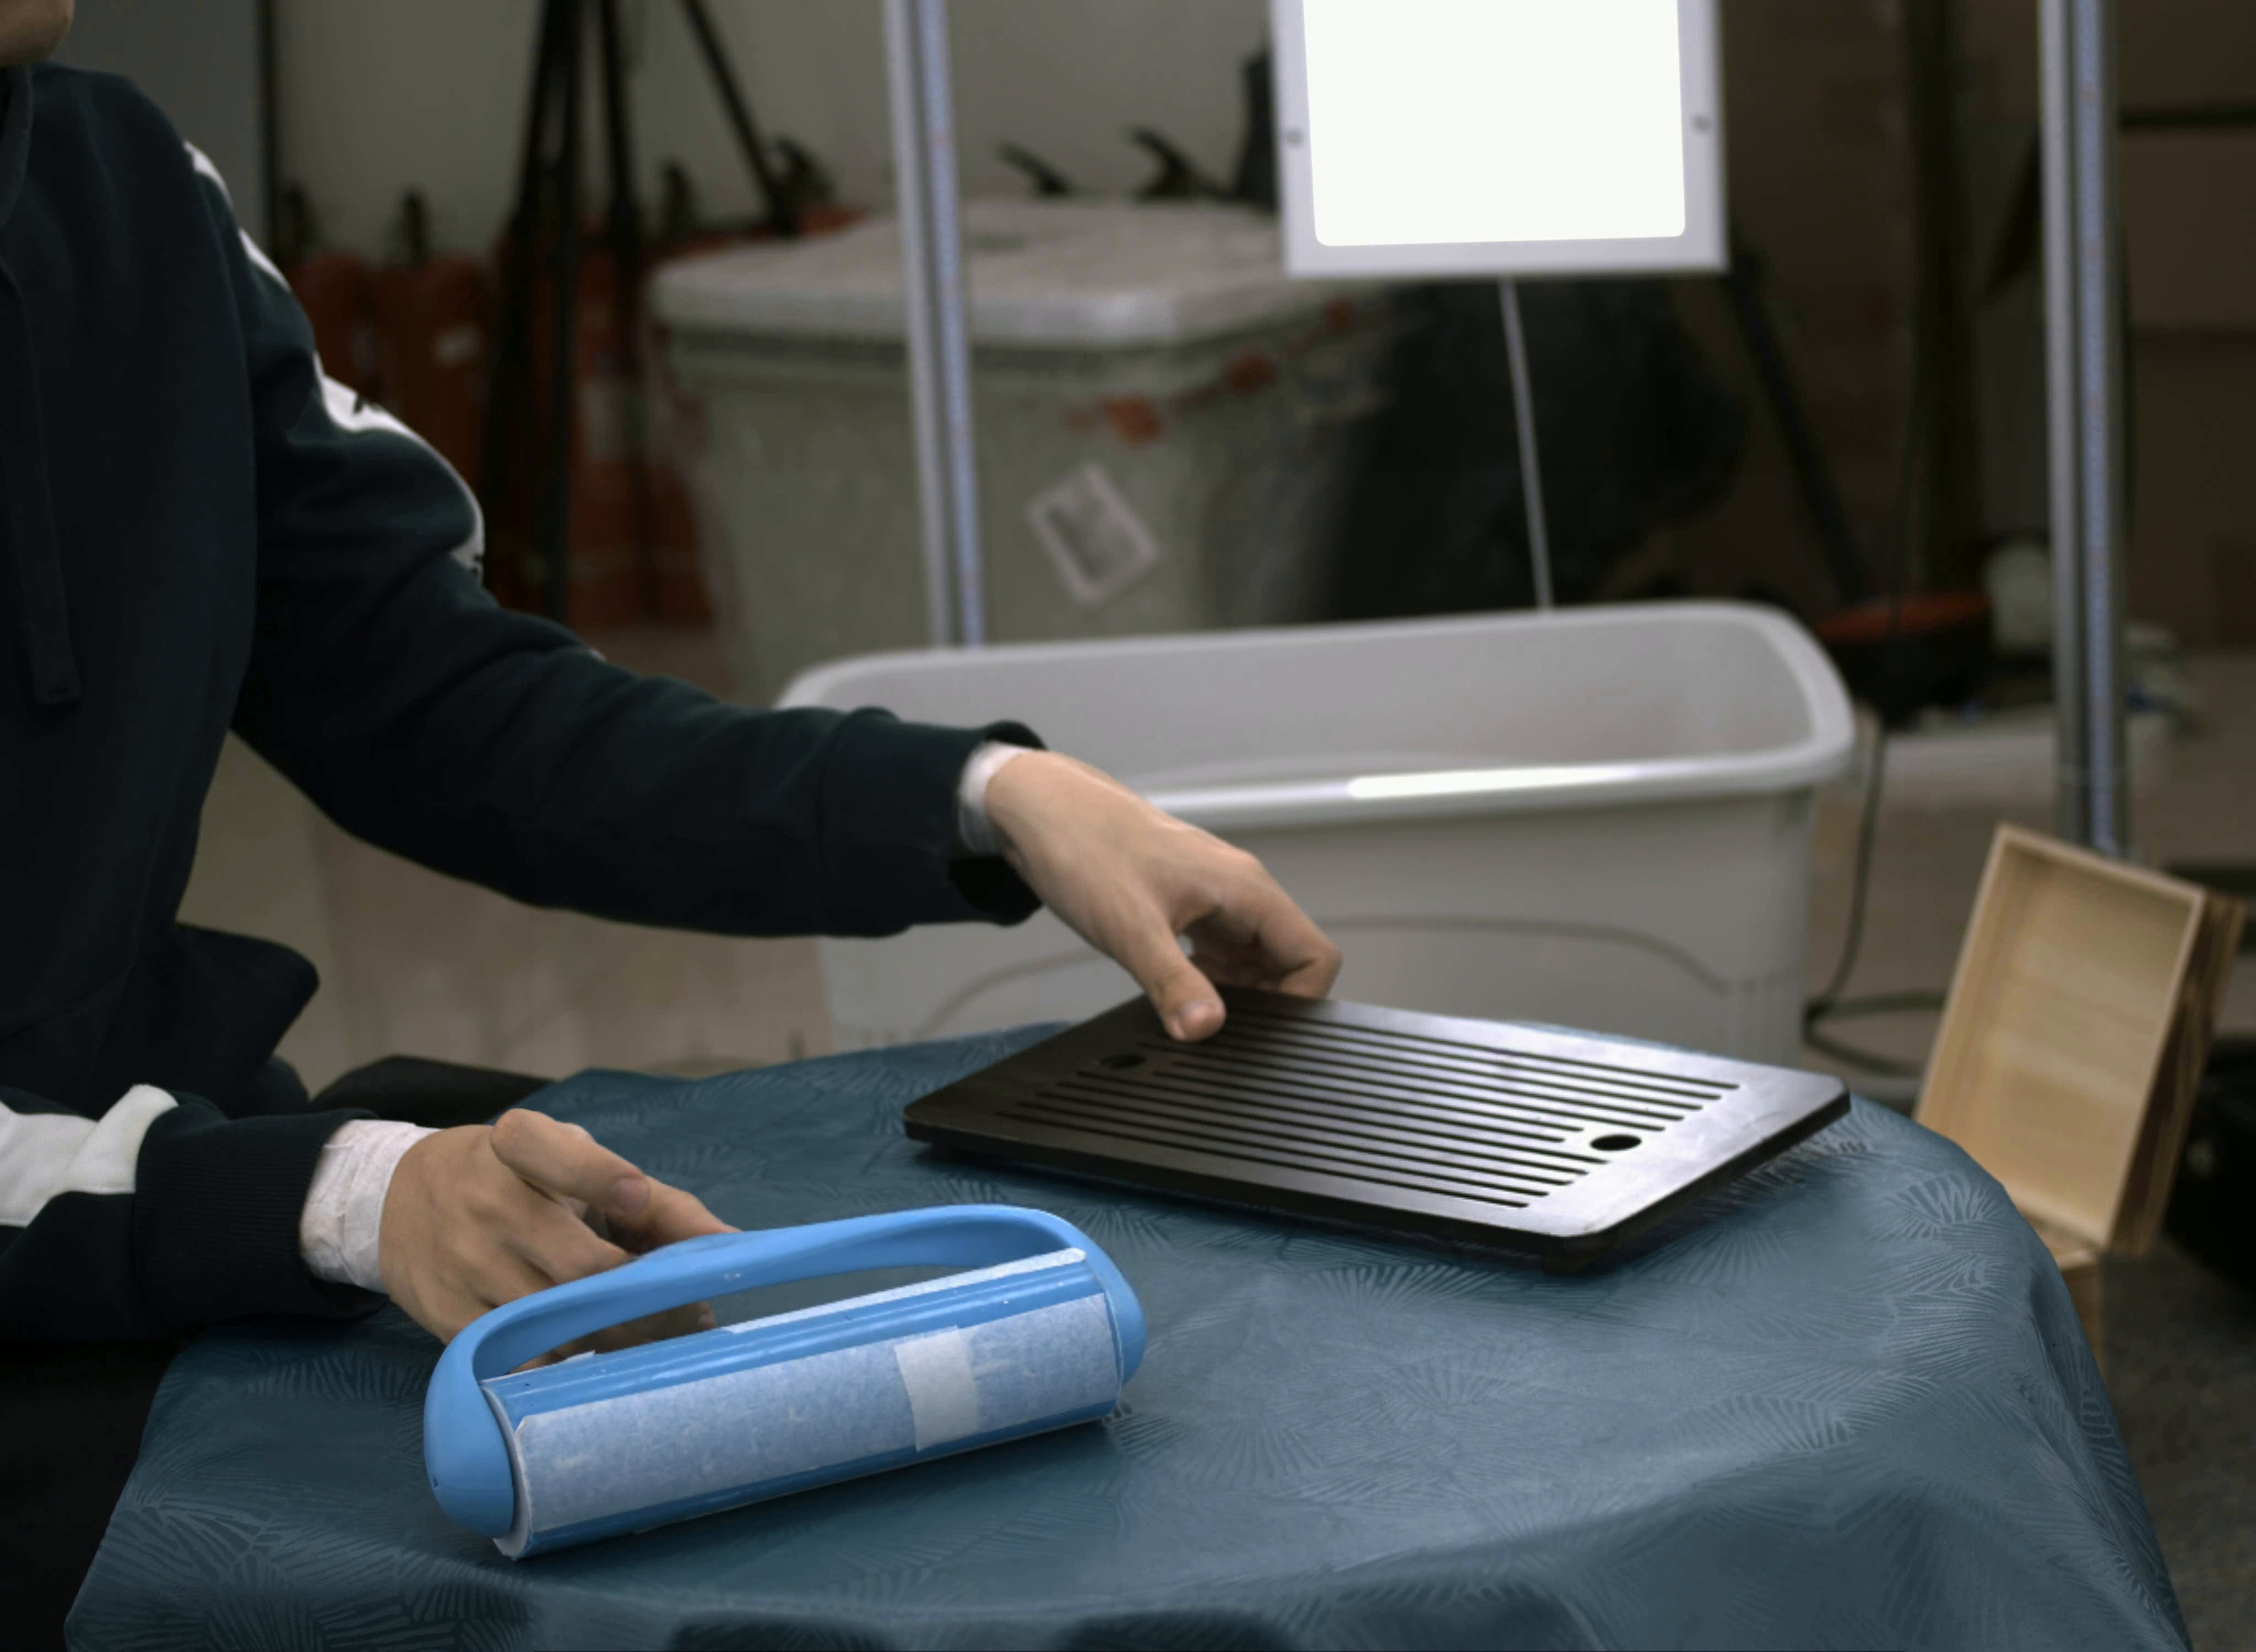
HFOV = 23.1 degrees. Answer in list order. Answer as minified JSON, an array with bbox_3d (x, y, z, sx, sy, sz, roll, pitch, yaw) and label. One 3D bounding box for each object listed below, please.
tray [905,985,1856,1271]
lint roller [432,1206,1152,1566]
[{"bbox_3d":[0.086,0.102,1.914,0.312,0.019,0.166,7,20,40],"label":"tray"},{"bbox_3d":[-0.125,0.158,1.689,0.224,0.068,0.183,-14,18,-25],"label":"lint roller"}]
